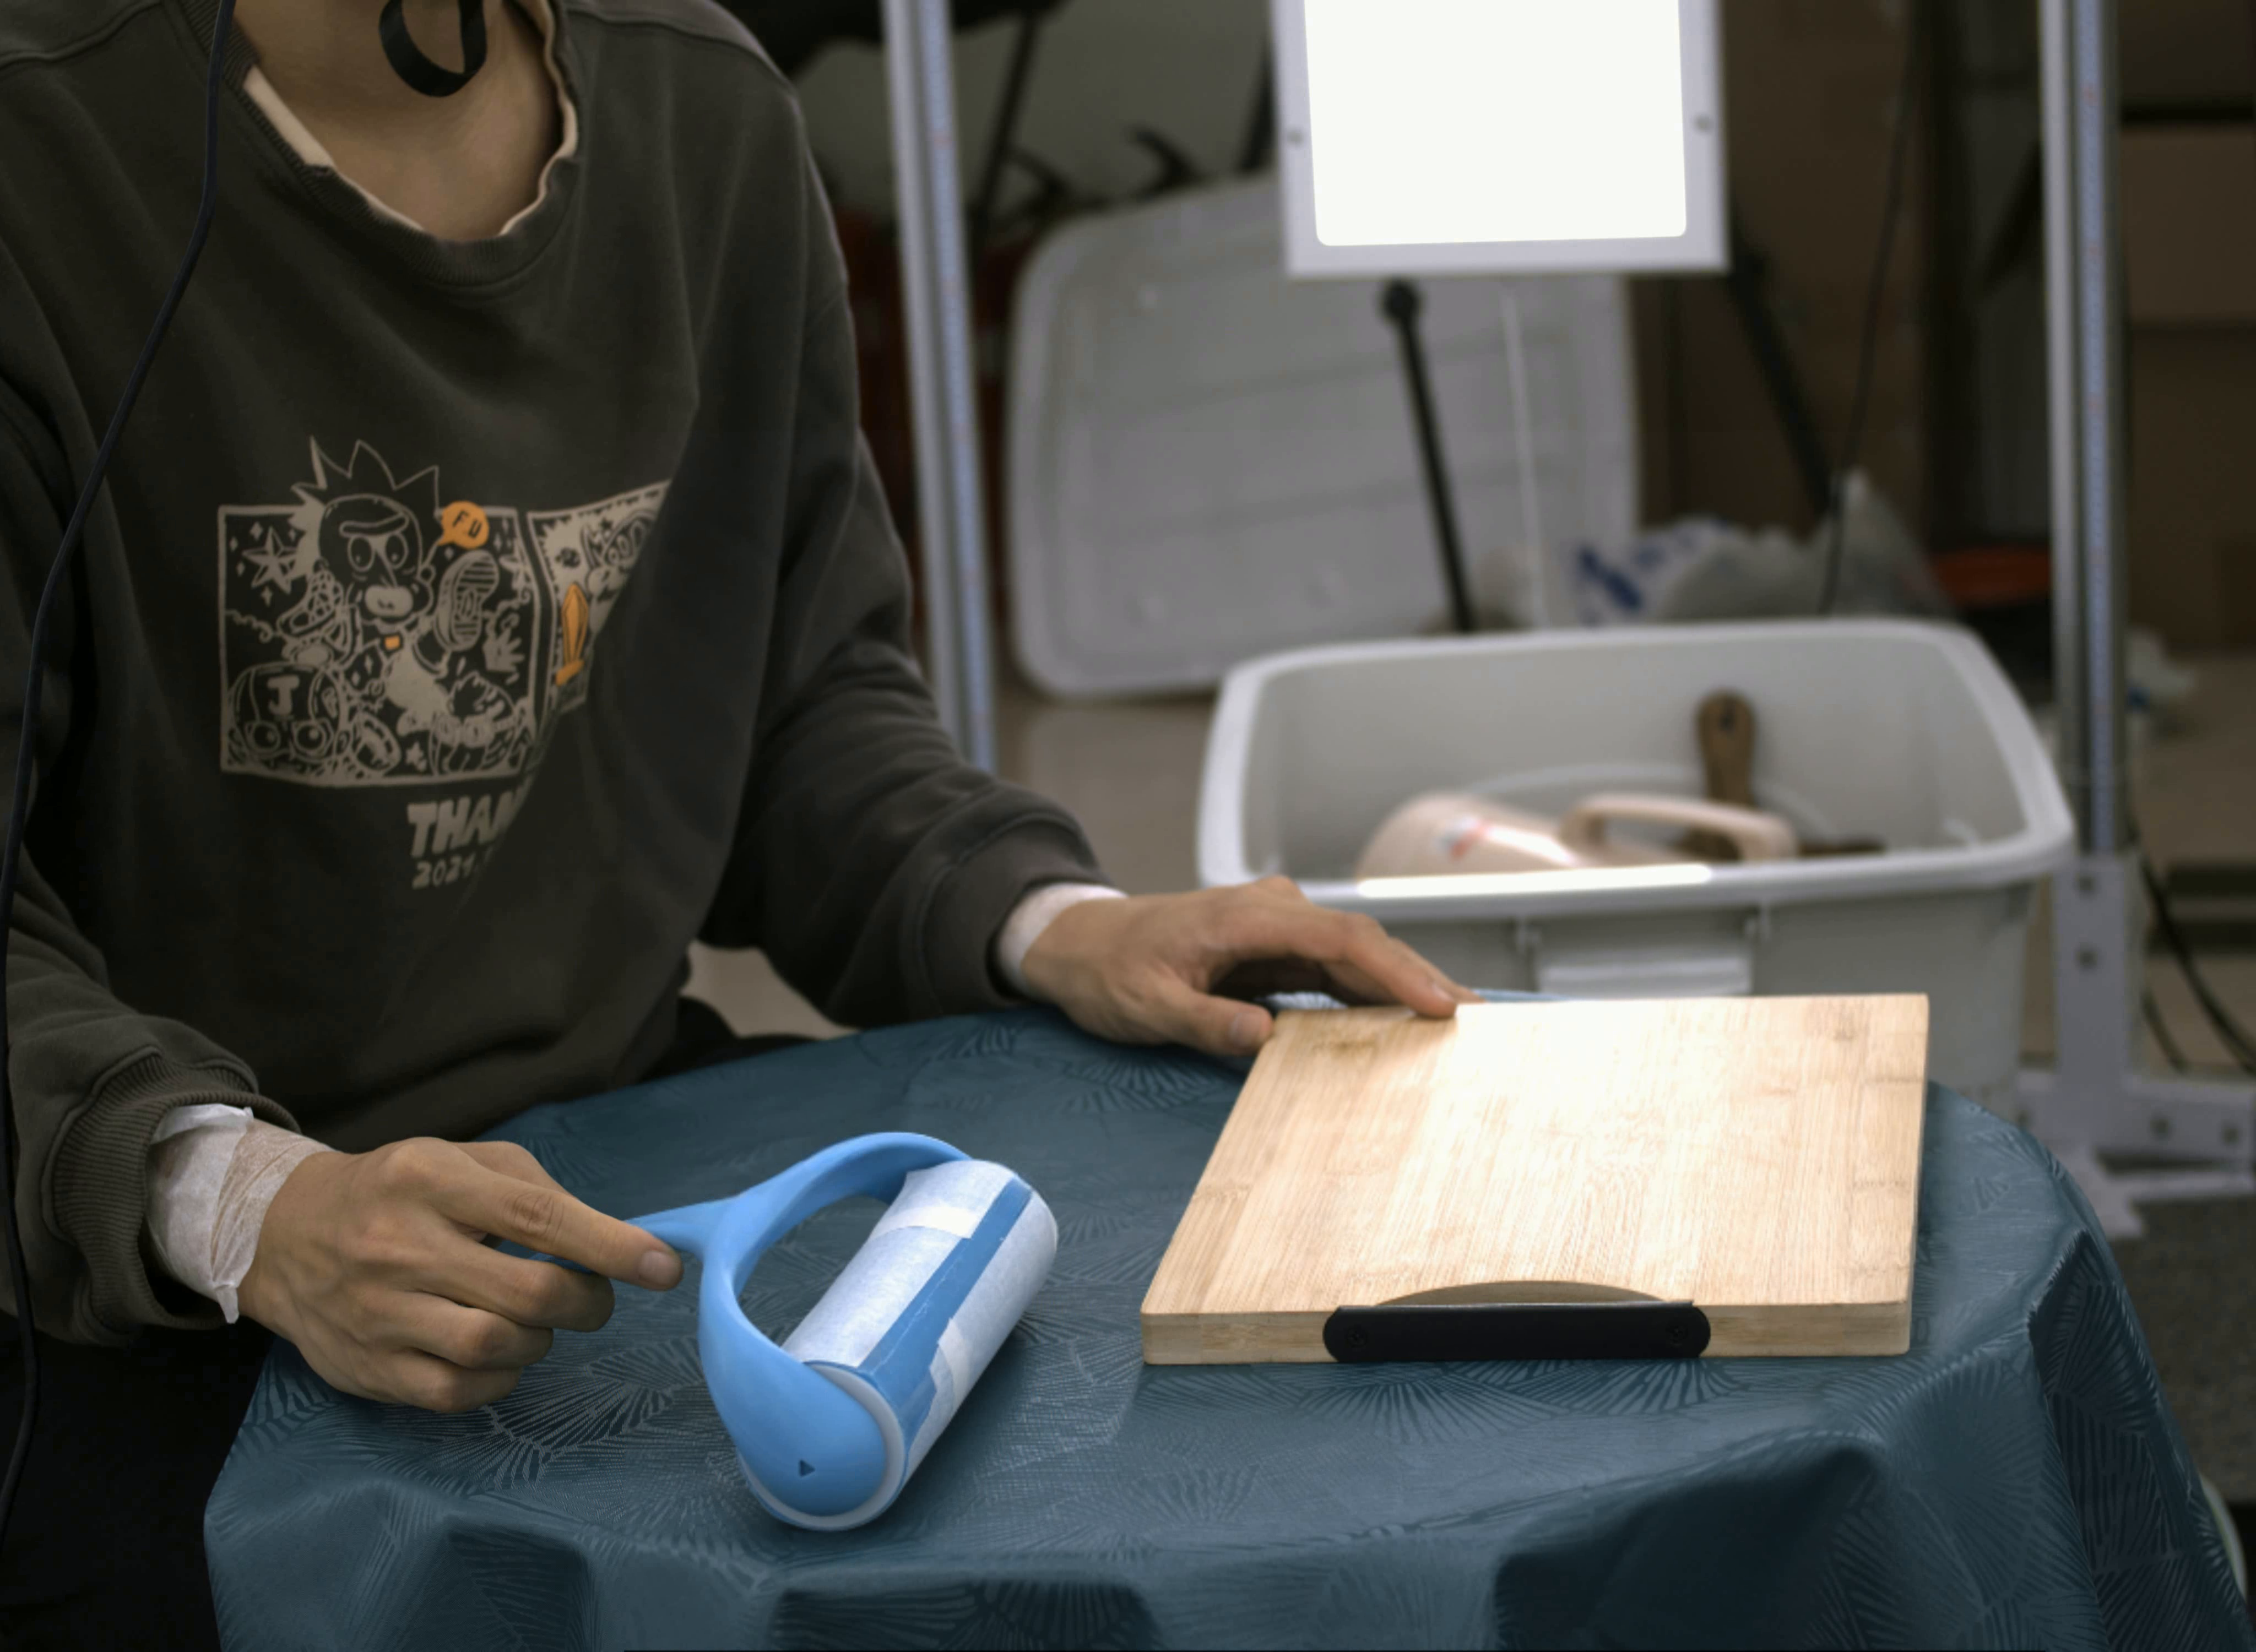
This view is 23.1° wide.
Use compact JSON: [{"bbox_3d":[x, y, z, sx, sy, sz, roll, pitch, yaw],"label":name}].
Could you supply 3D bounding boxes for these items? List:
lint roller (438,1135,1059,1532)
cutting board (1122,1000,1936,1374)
[{"bbox_3d":[-0.126,0.149,1.702,0.181,0.068,0.226,6,17,10],"label":"lint roller"},{"bbox_3d":[0.146,0.117,1.849,0.252,0.023,0.345,-3,14,10],"label":"cutting board"}]
